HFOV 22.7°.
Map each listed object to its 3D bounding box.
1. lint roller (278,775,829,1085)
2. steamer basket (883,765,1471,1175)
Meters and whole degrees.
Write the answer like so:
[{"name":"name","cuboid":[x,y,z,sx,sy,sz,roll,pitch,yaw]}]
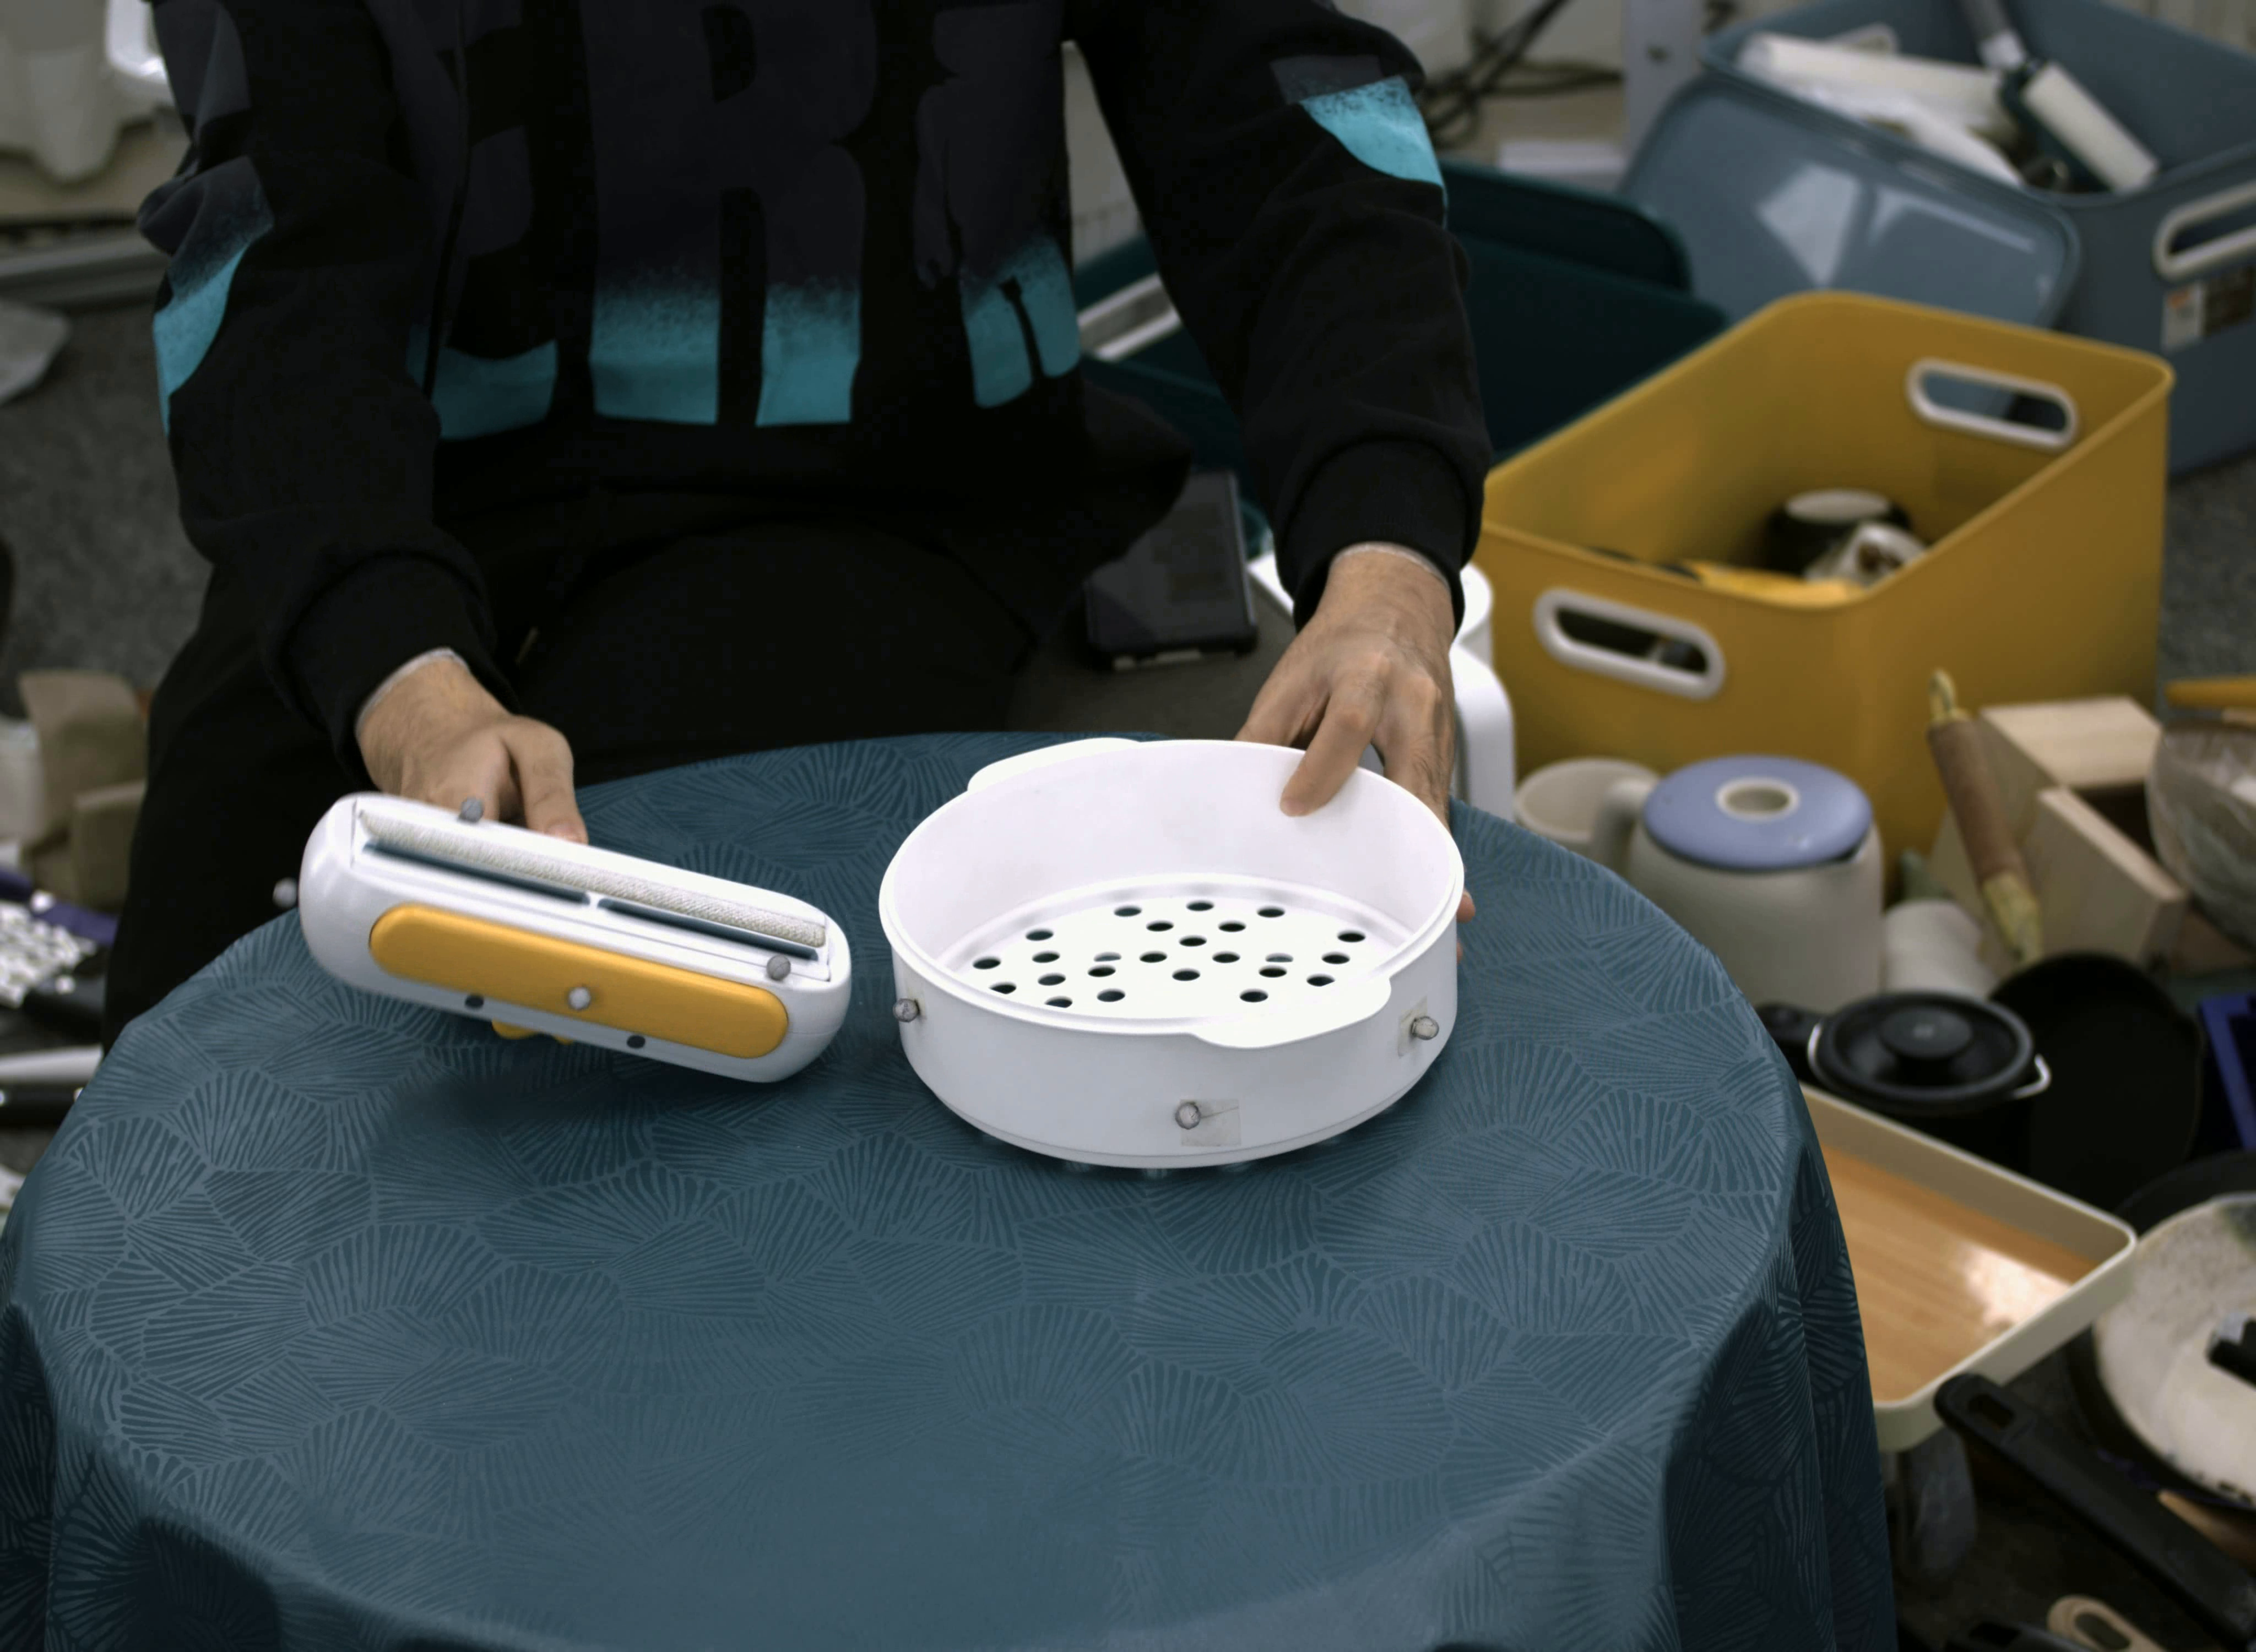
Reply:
[{"name":"lint roller","cuboid":[-0.203,0.021,1.972,0.192,0.073,0.194,13,20,-11]},{"name":"steamer basket","cuboid":[0.018,0.050,1.929,0.202,0.068,0.232,-13,27,-21]}]
